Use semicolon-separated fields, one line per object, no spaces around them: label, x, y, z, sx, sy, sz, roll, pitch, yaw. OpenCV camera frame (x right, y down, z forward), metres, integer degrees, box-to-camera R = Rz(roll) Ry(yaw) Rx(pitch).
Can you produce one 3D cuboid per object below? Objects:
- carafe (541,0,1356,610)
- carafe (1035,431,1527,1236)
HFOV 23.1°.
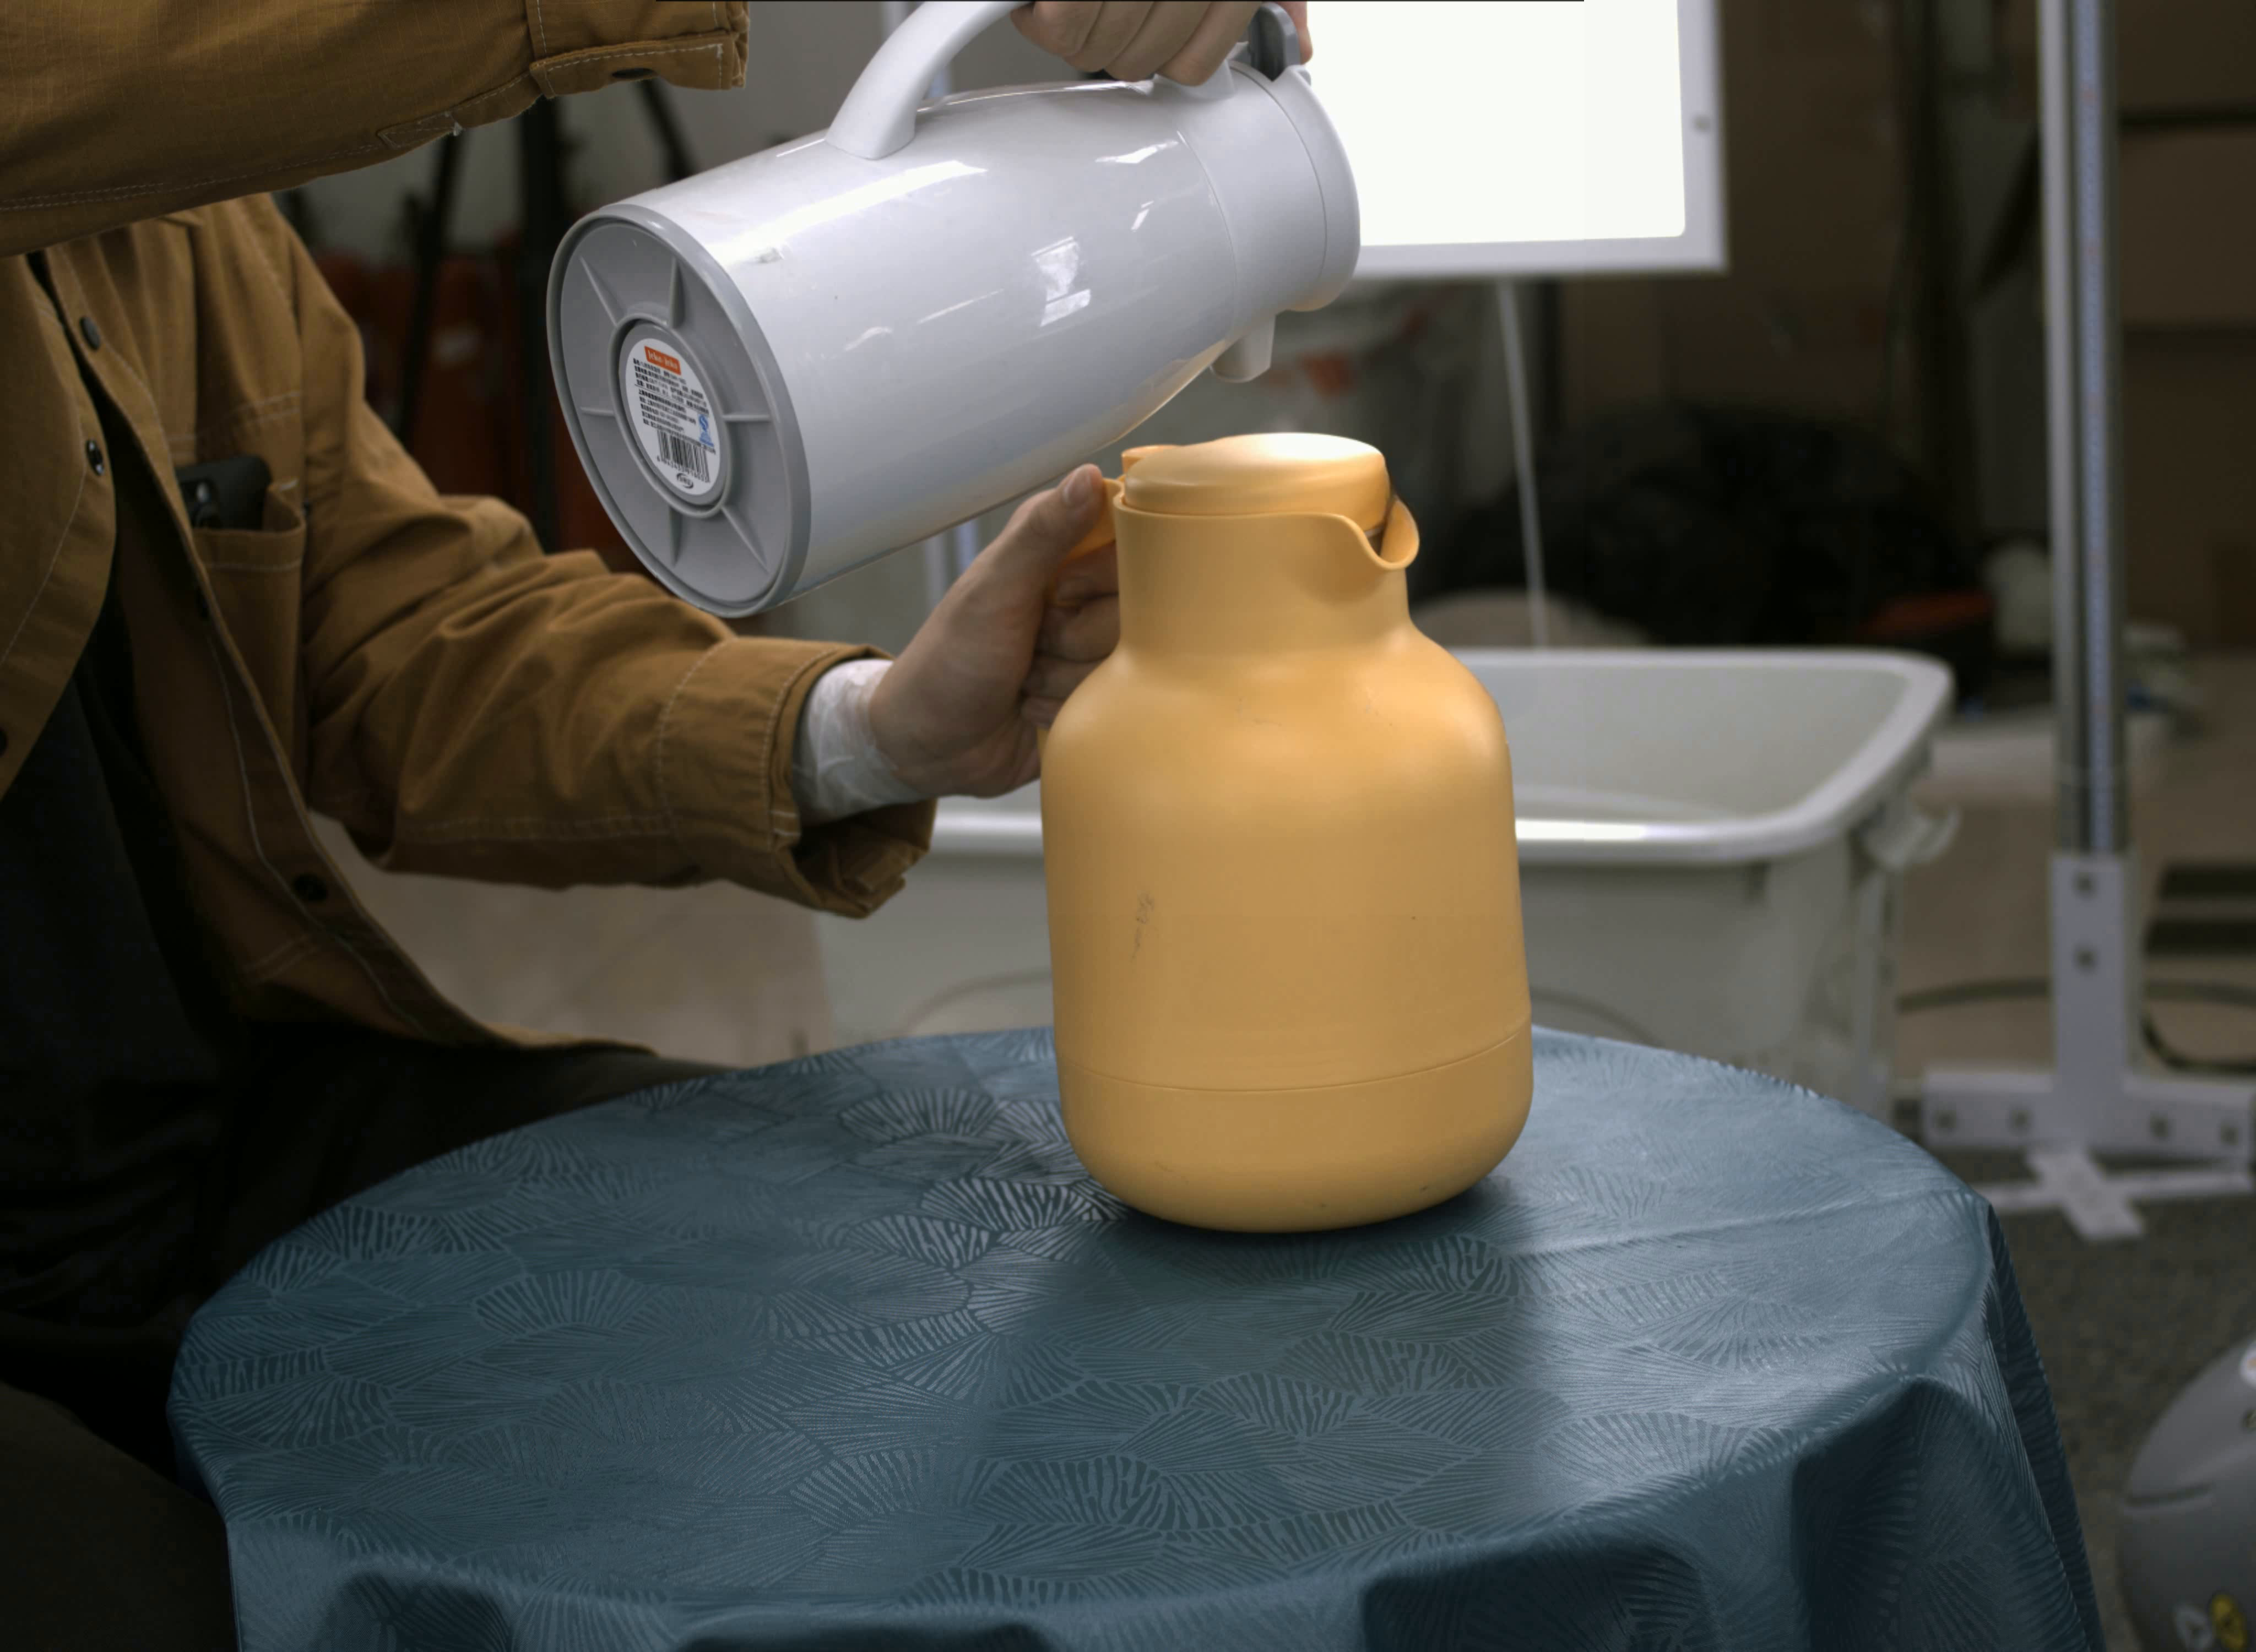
carafe;-0.046;-0.185;1.723;0.243;0.168;0.135;-24;36;-28
carafe;0.041;-0.005;1.876;0.159;0.261;0.206;-12;17;-32
